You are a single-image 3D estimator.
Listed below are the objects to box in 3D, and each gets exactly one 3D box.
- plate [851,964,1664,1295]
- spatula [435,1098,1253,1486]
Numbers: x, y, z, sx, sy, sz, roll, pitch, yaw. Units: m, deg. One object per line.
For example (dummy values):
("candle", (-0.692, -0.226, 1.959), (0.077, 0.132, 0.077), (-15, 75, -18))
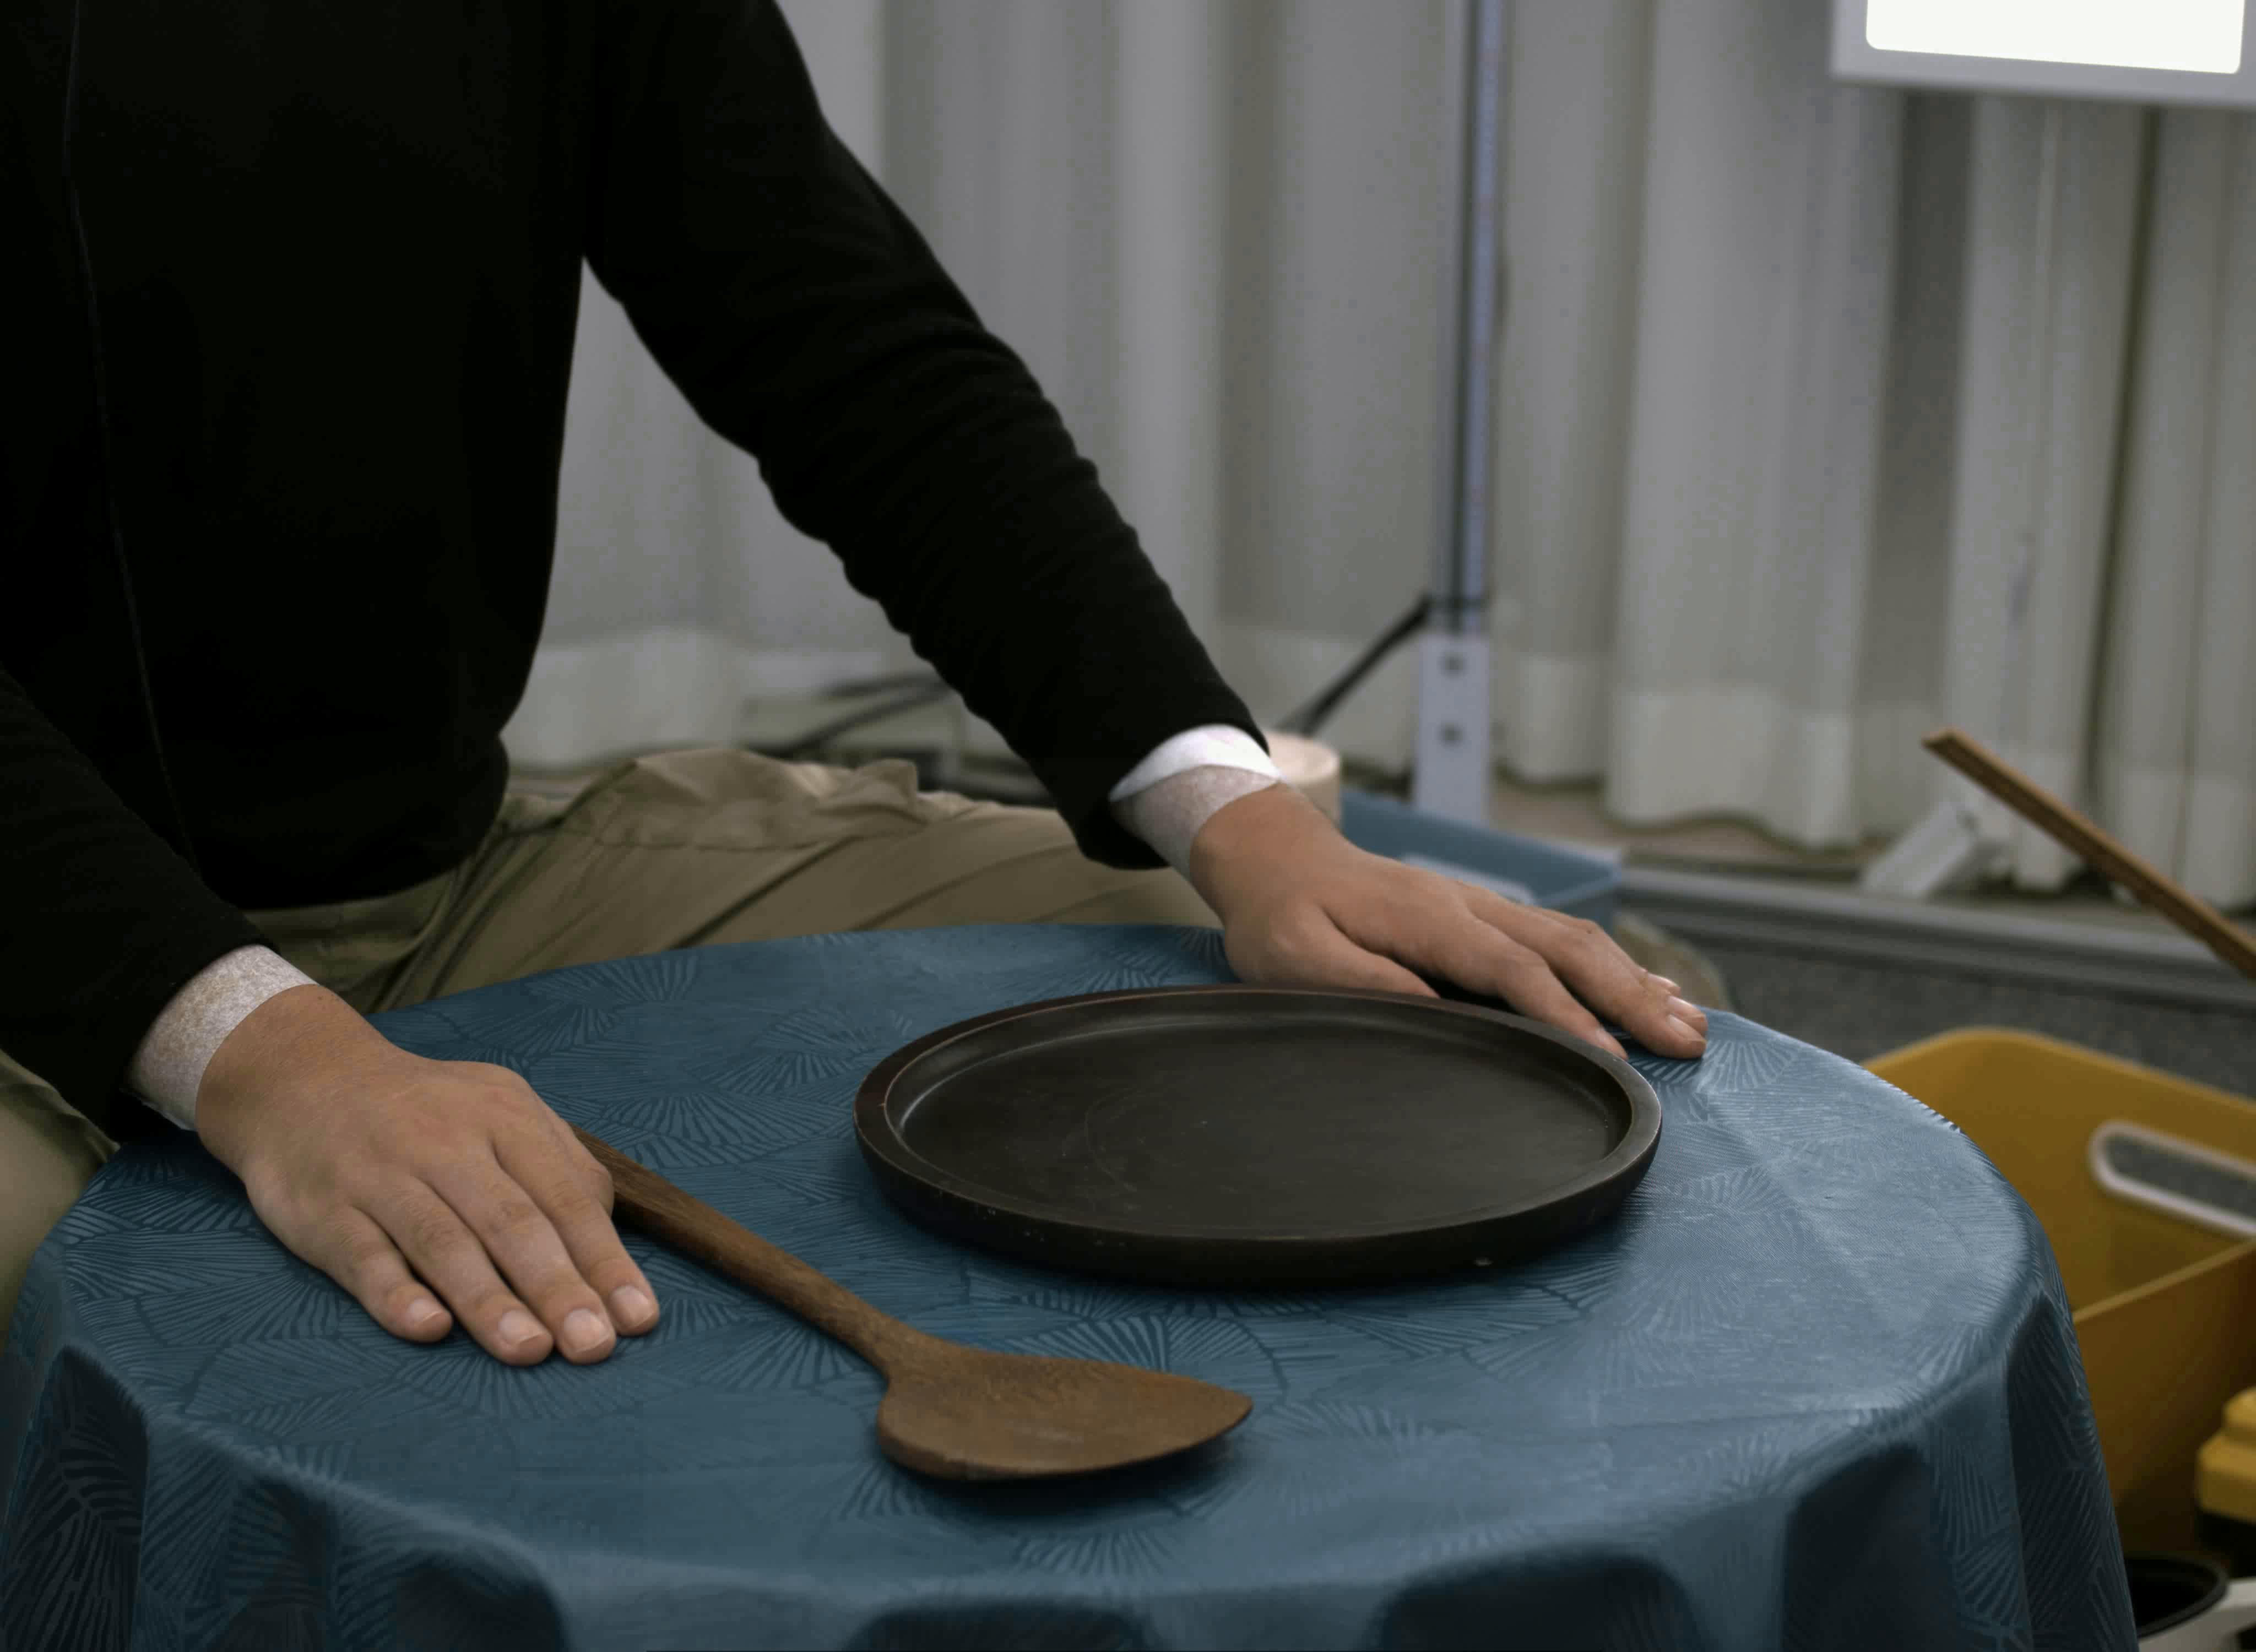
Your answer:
("plate", (0.040, 0.095, 1.639), (0.254, 0.029, 0.253), (-1, 16, 1))
("spatula", (-0.105, 0.129, 1.530), (0.096, 0.016, 0.381), (-10, 18, -34))
